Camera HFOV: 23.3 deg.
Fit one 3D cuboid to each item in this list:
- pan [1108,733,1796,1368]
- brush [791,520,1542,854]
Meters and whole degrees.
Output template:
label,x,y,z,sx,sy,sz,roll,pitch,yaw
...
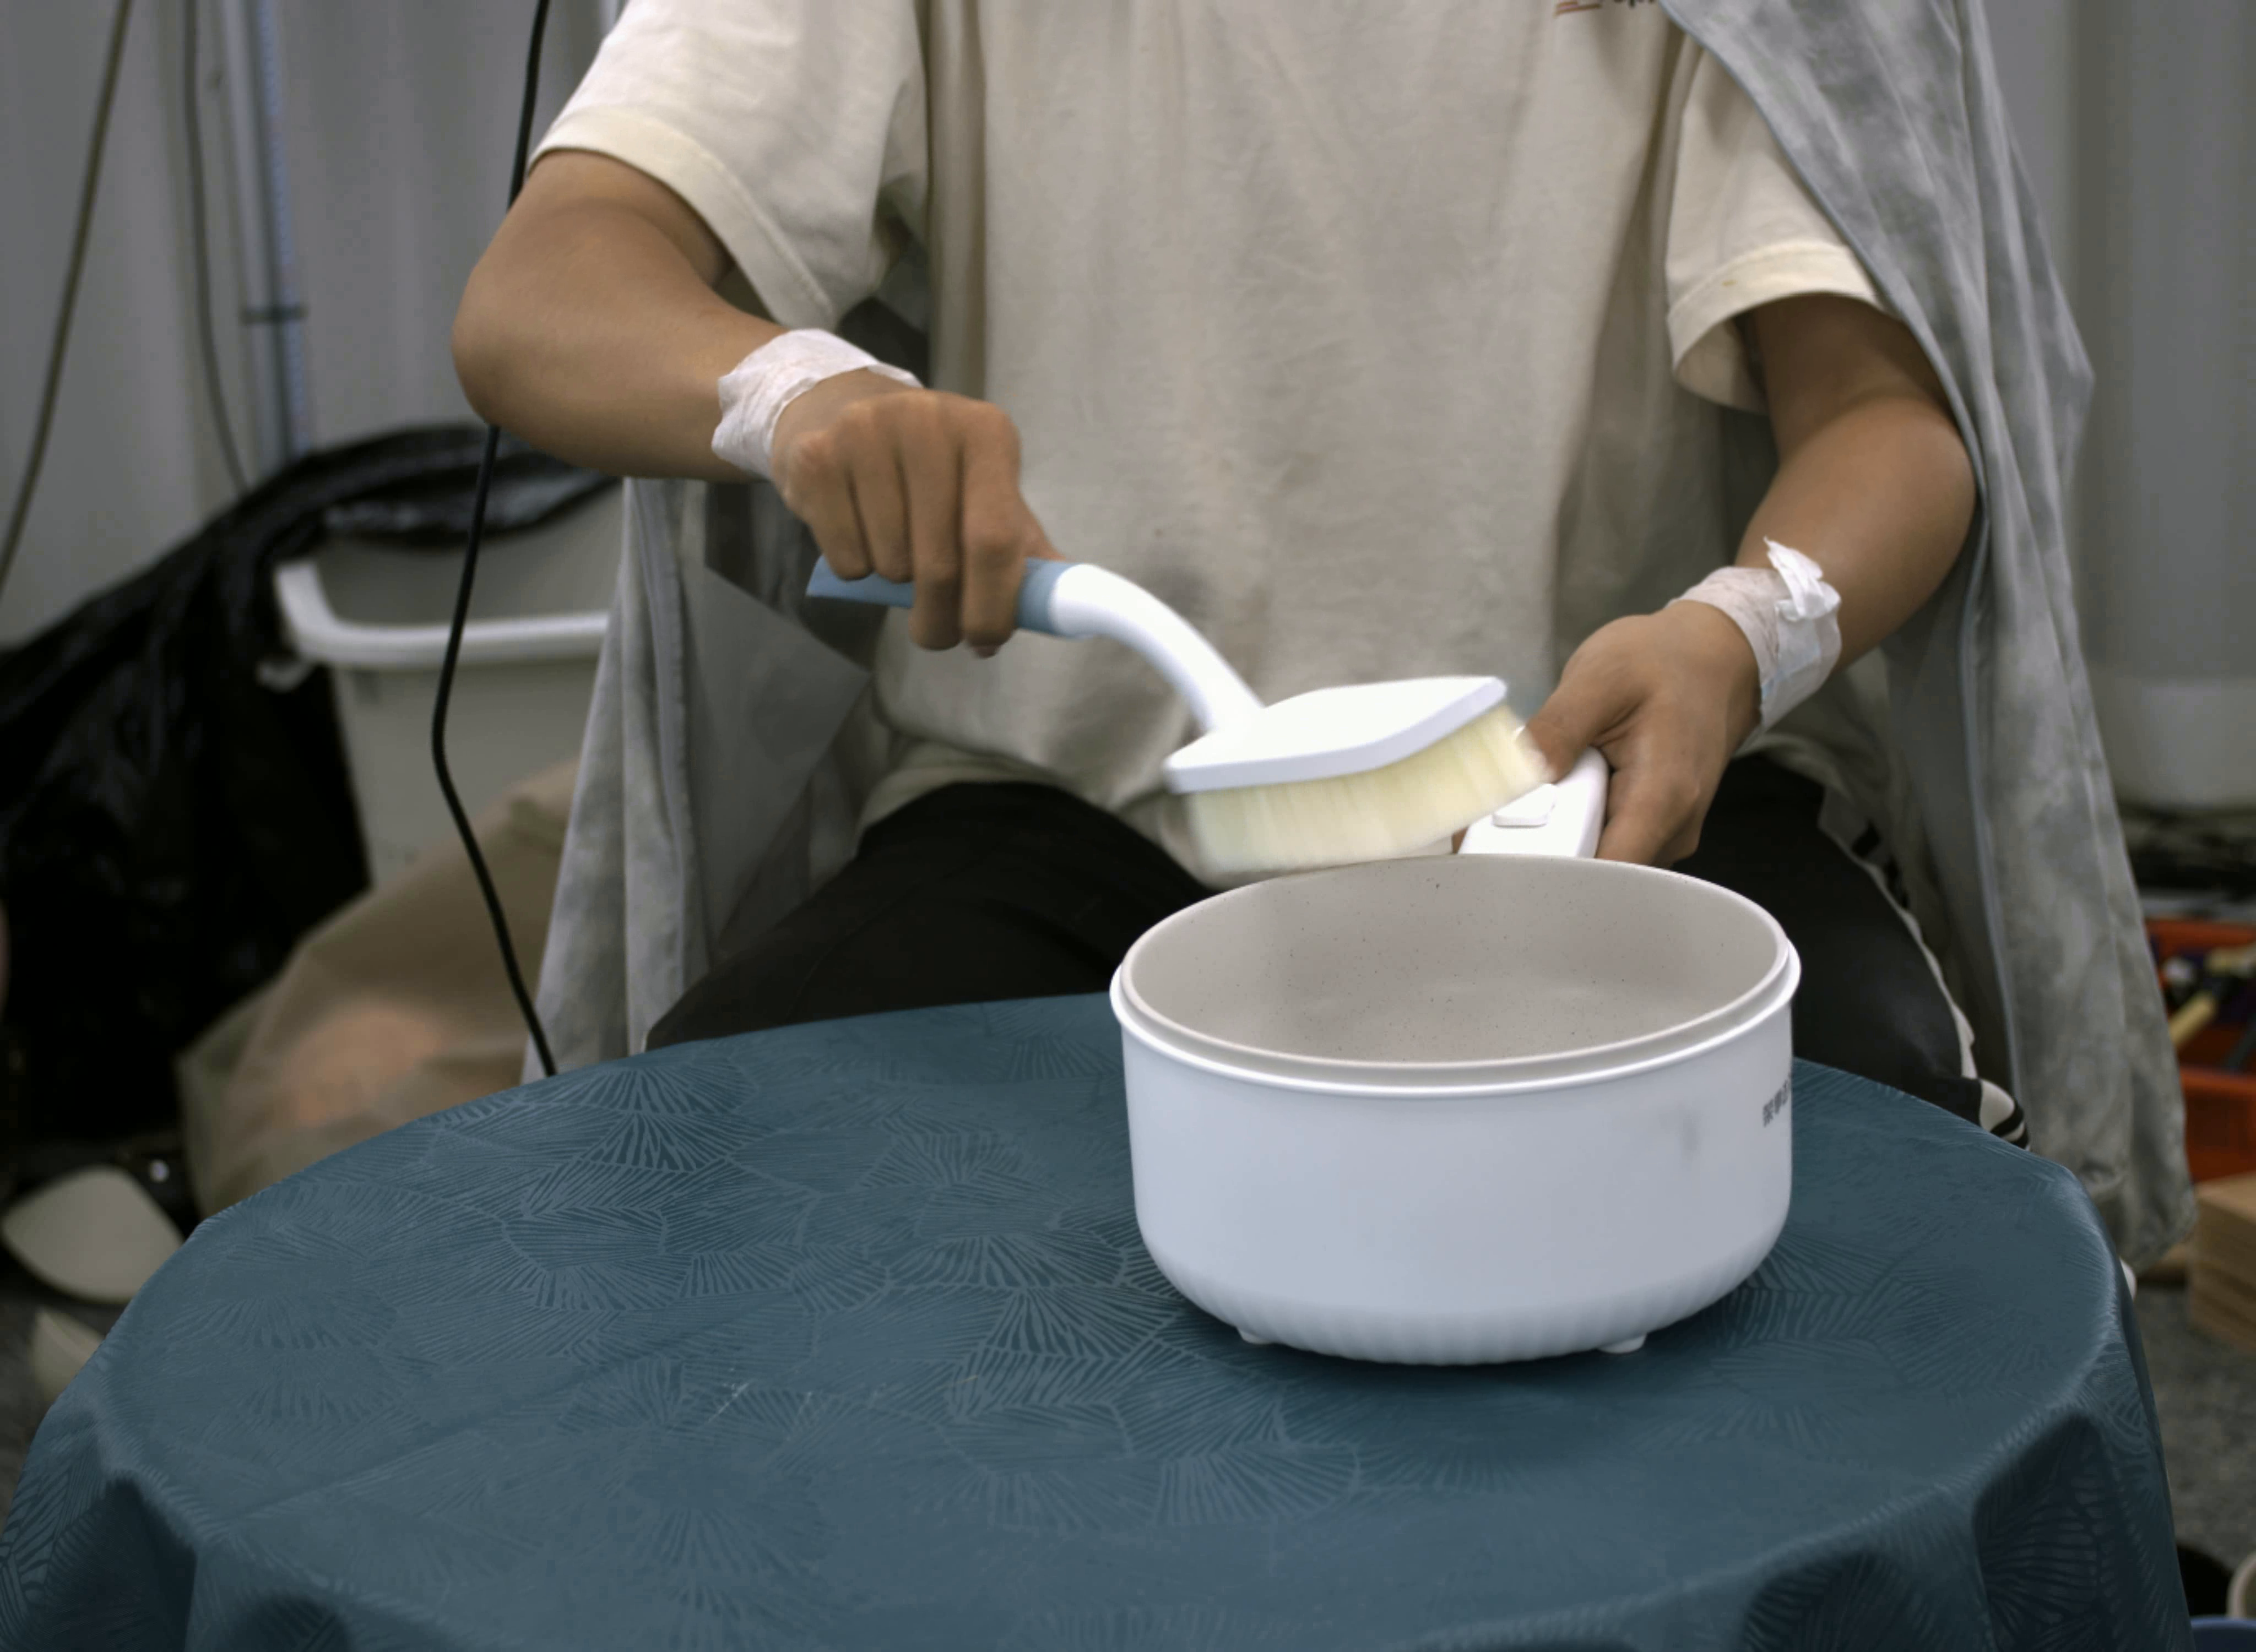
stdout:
label,x,y,z,sx,sy,sz,roll,pitch,yaw
pan,0.111,0.064,1.680,0.201,0.101,0.357,0,16,12
brush,0.010,-0.036,1.751,0.327,0.085,0.082,11,-9,46
